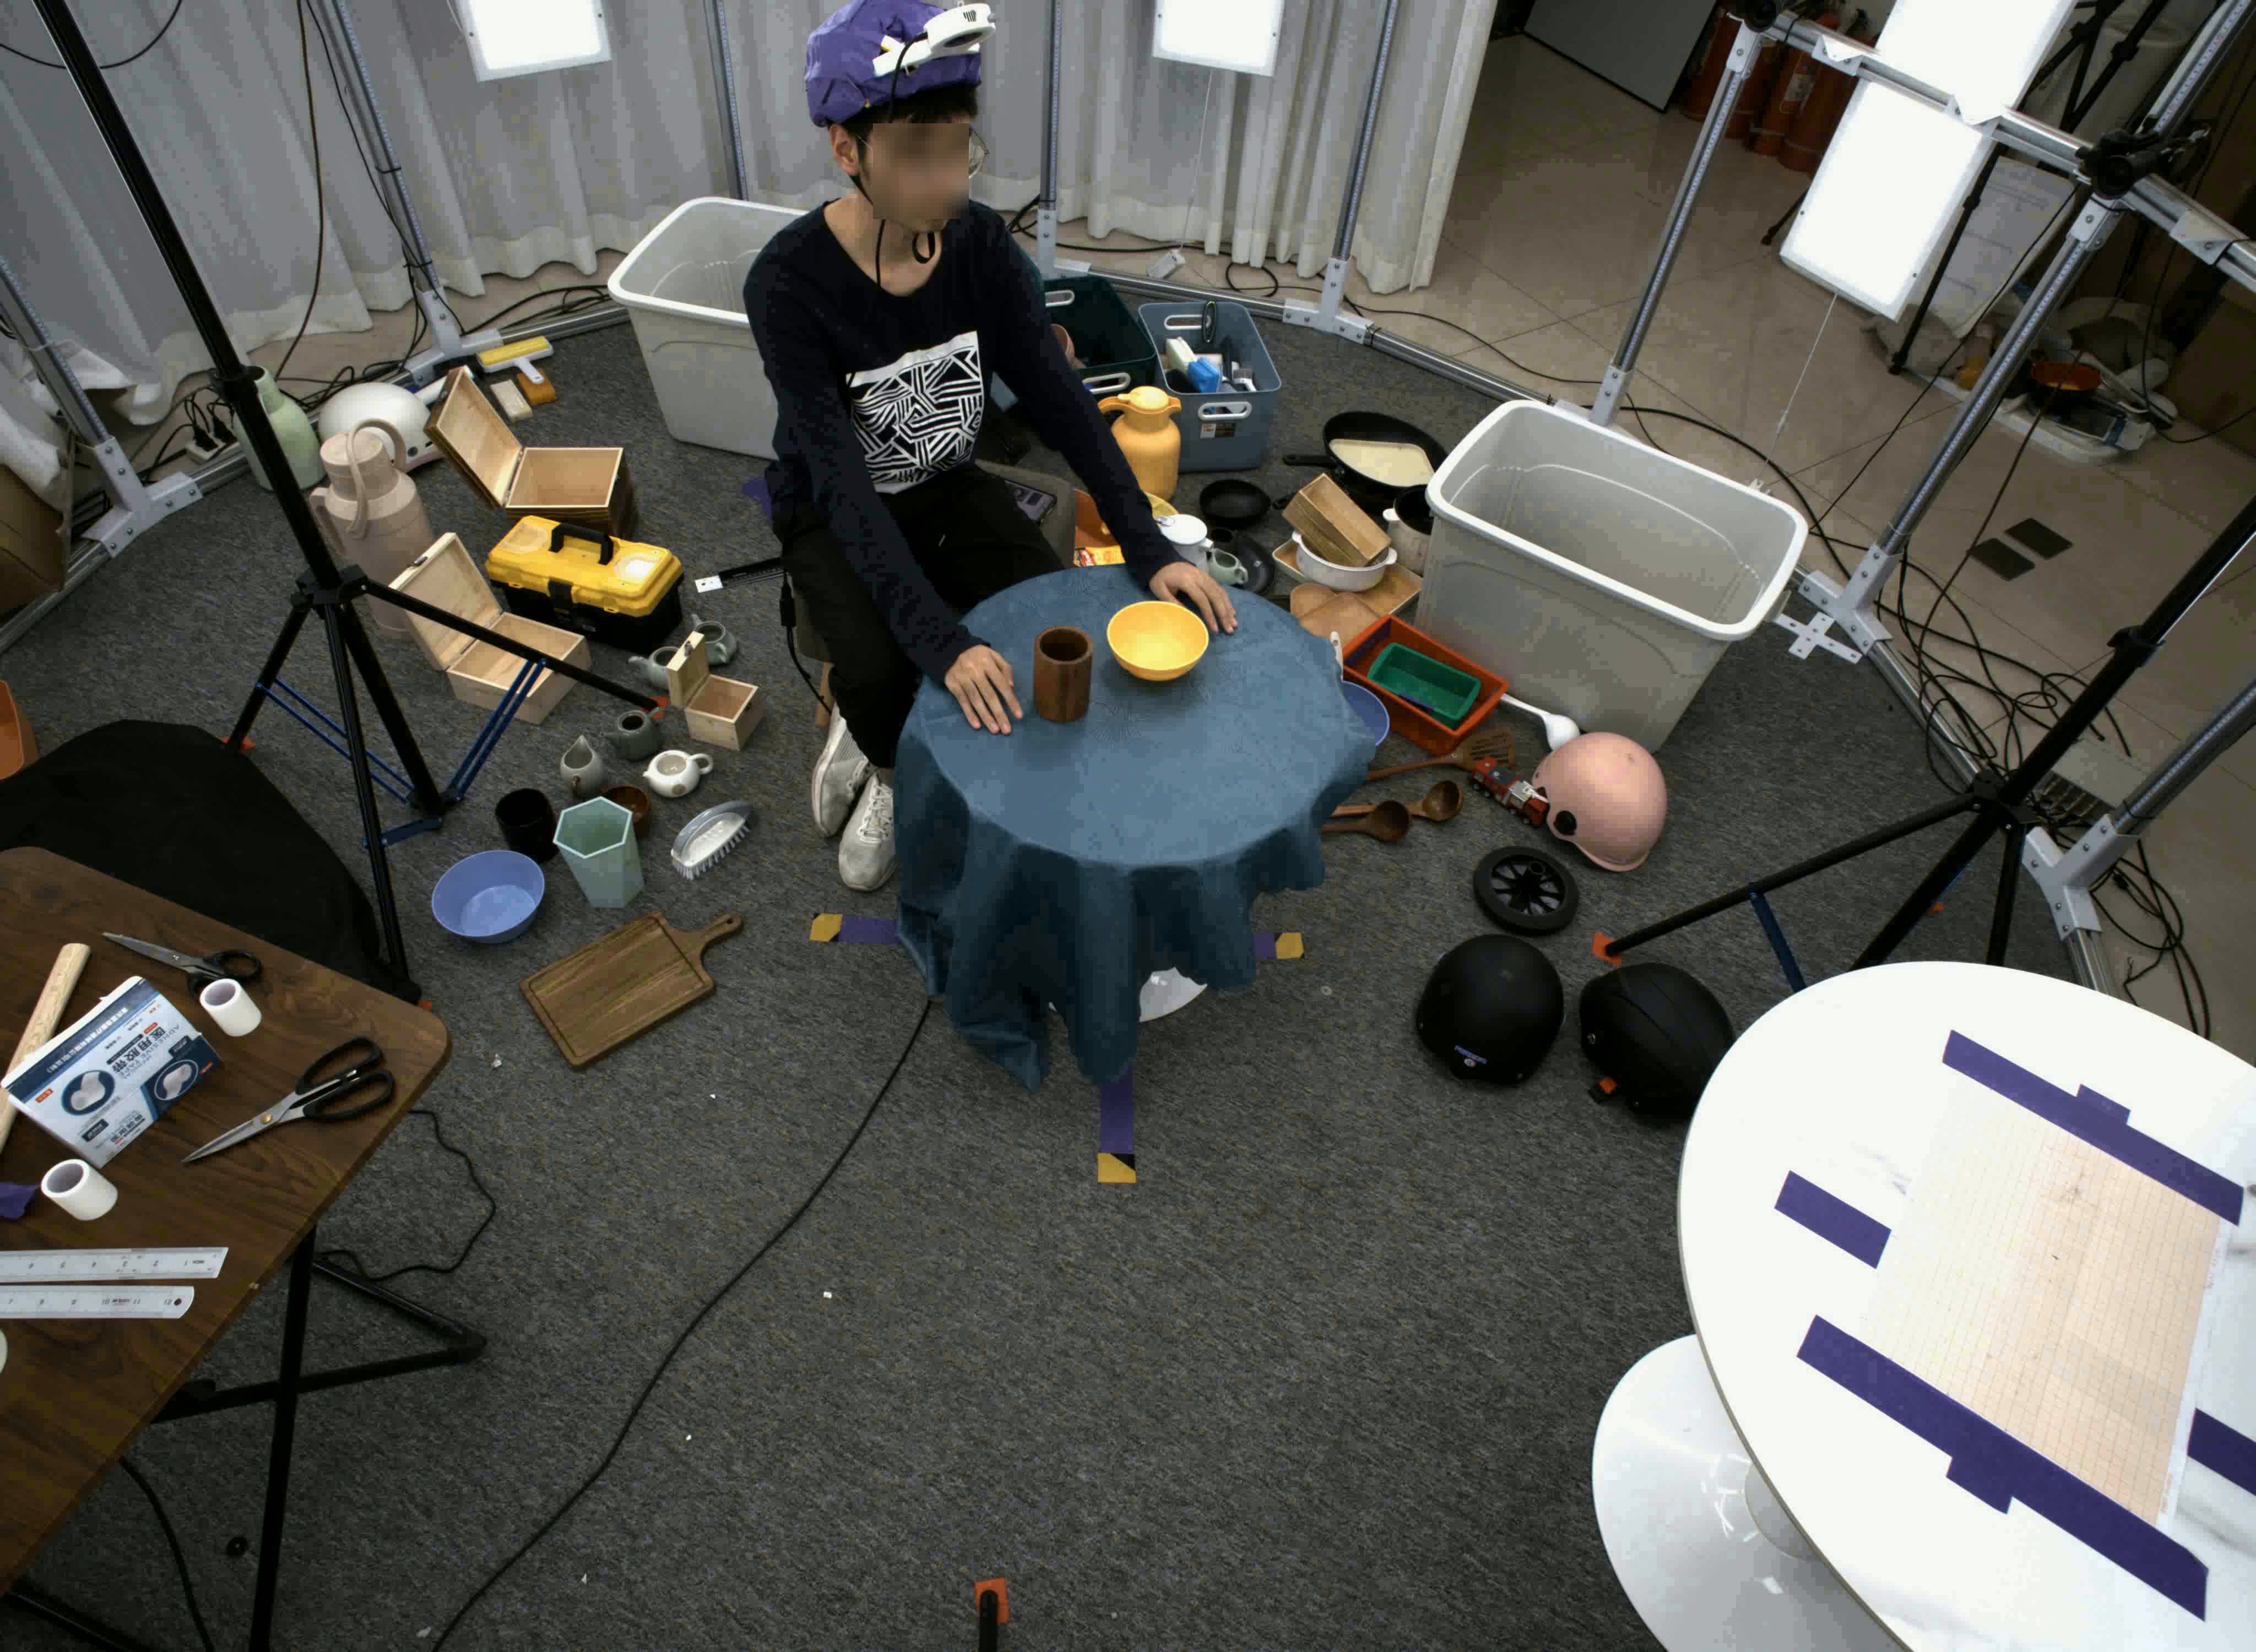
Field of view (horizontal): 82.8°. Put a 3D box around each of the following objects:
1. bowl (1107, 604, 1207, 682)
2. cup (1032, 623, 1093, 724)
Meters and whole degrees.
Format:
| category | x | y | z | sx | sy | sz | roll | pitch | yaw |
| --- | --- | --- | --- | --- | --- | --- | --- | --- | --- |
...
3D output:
| category | x | y | z | sx | sy | sz | roll | pitch | yaw |
| --- | --- | --- | --- | --- | --- | --- | --- | --- | --- |
| bowl | 0.040 | -0.253 | 1.853 | 0.145 | 0.058 | 0.149 | 2 | 47 | -2 |
| cup | -0.092 | -0.210 | 1.769 | 0.087 | 0.115 | 0.090 | 3 | 47 | -3 |
